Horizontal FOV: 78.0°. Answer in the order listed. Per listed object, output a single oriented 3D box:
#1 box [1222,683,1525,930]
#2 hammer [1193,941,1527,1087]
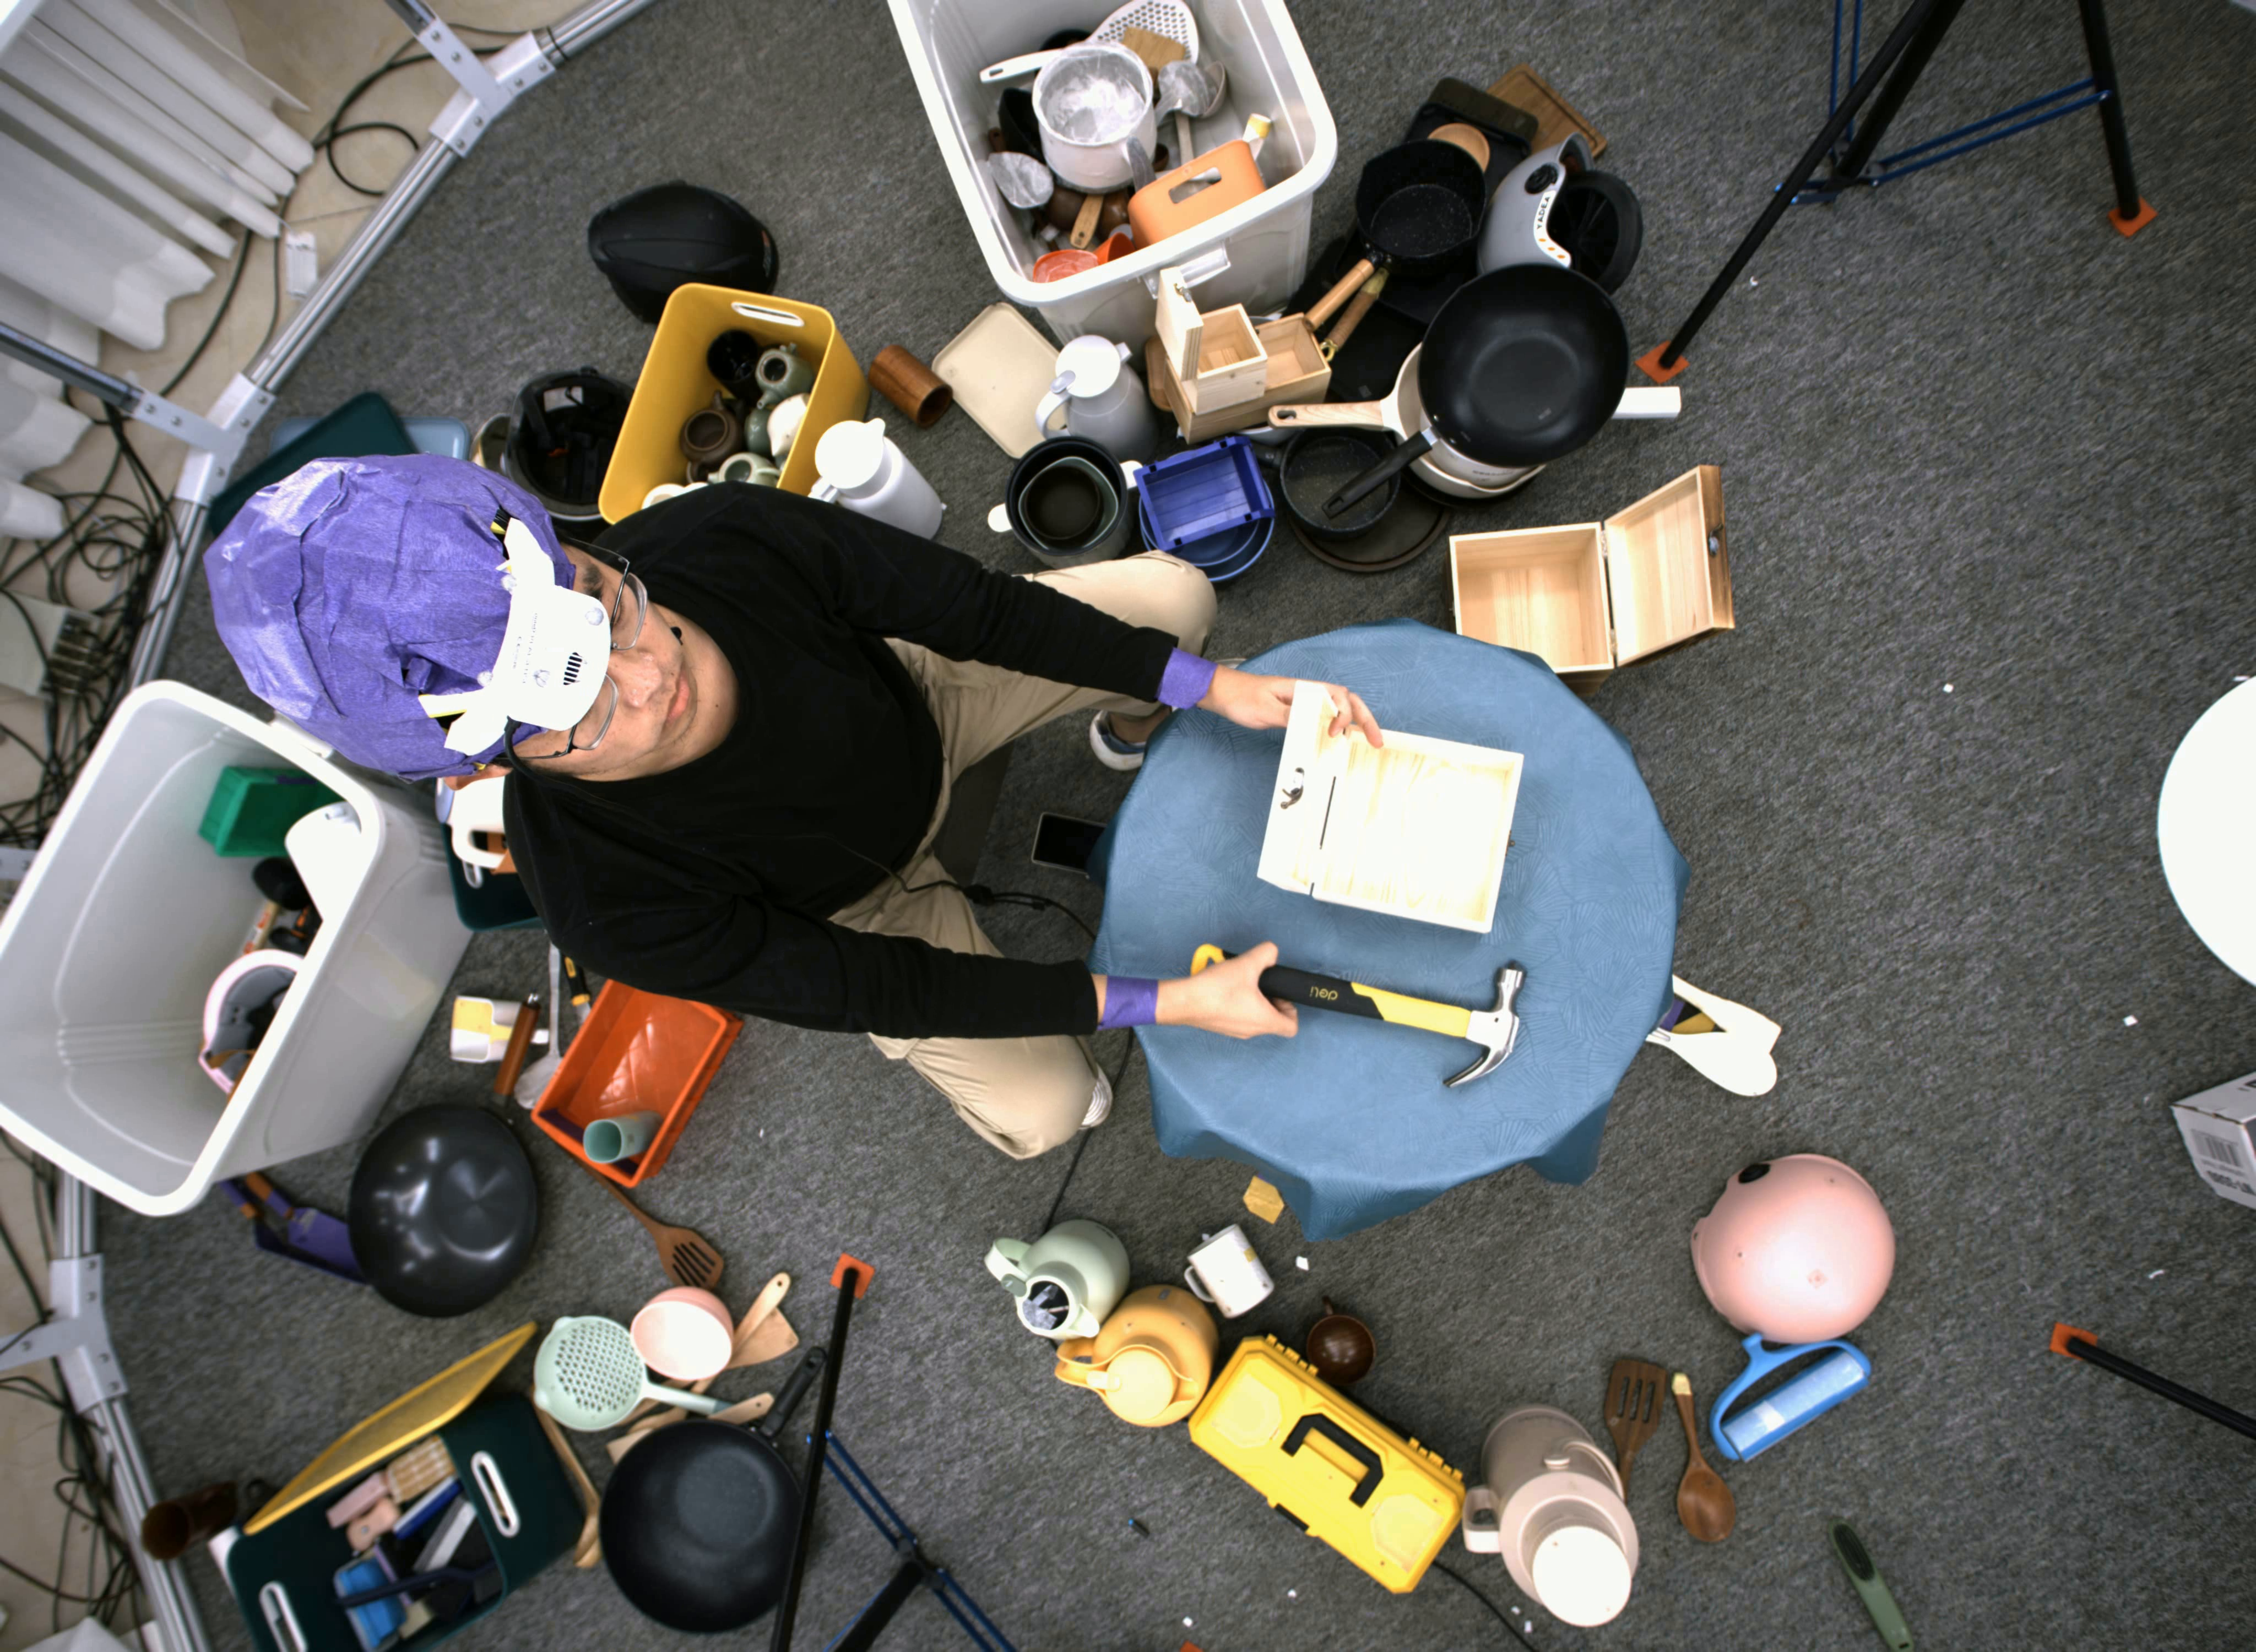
[{"bbox_3d":[0.250,-0.012,1.343,0.265,0.253,0.181,10,89,11],"label":"box"},{"bbox_3d":[0.233,0.175,1.426,0.339,0.032,0.131,13,90,3],"label":"hammer"}]
